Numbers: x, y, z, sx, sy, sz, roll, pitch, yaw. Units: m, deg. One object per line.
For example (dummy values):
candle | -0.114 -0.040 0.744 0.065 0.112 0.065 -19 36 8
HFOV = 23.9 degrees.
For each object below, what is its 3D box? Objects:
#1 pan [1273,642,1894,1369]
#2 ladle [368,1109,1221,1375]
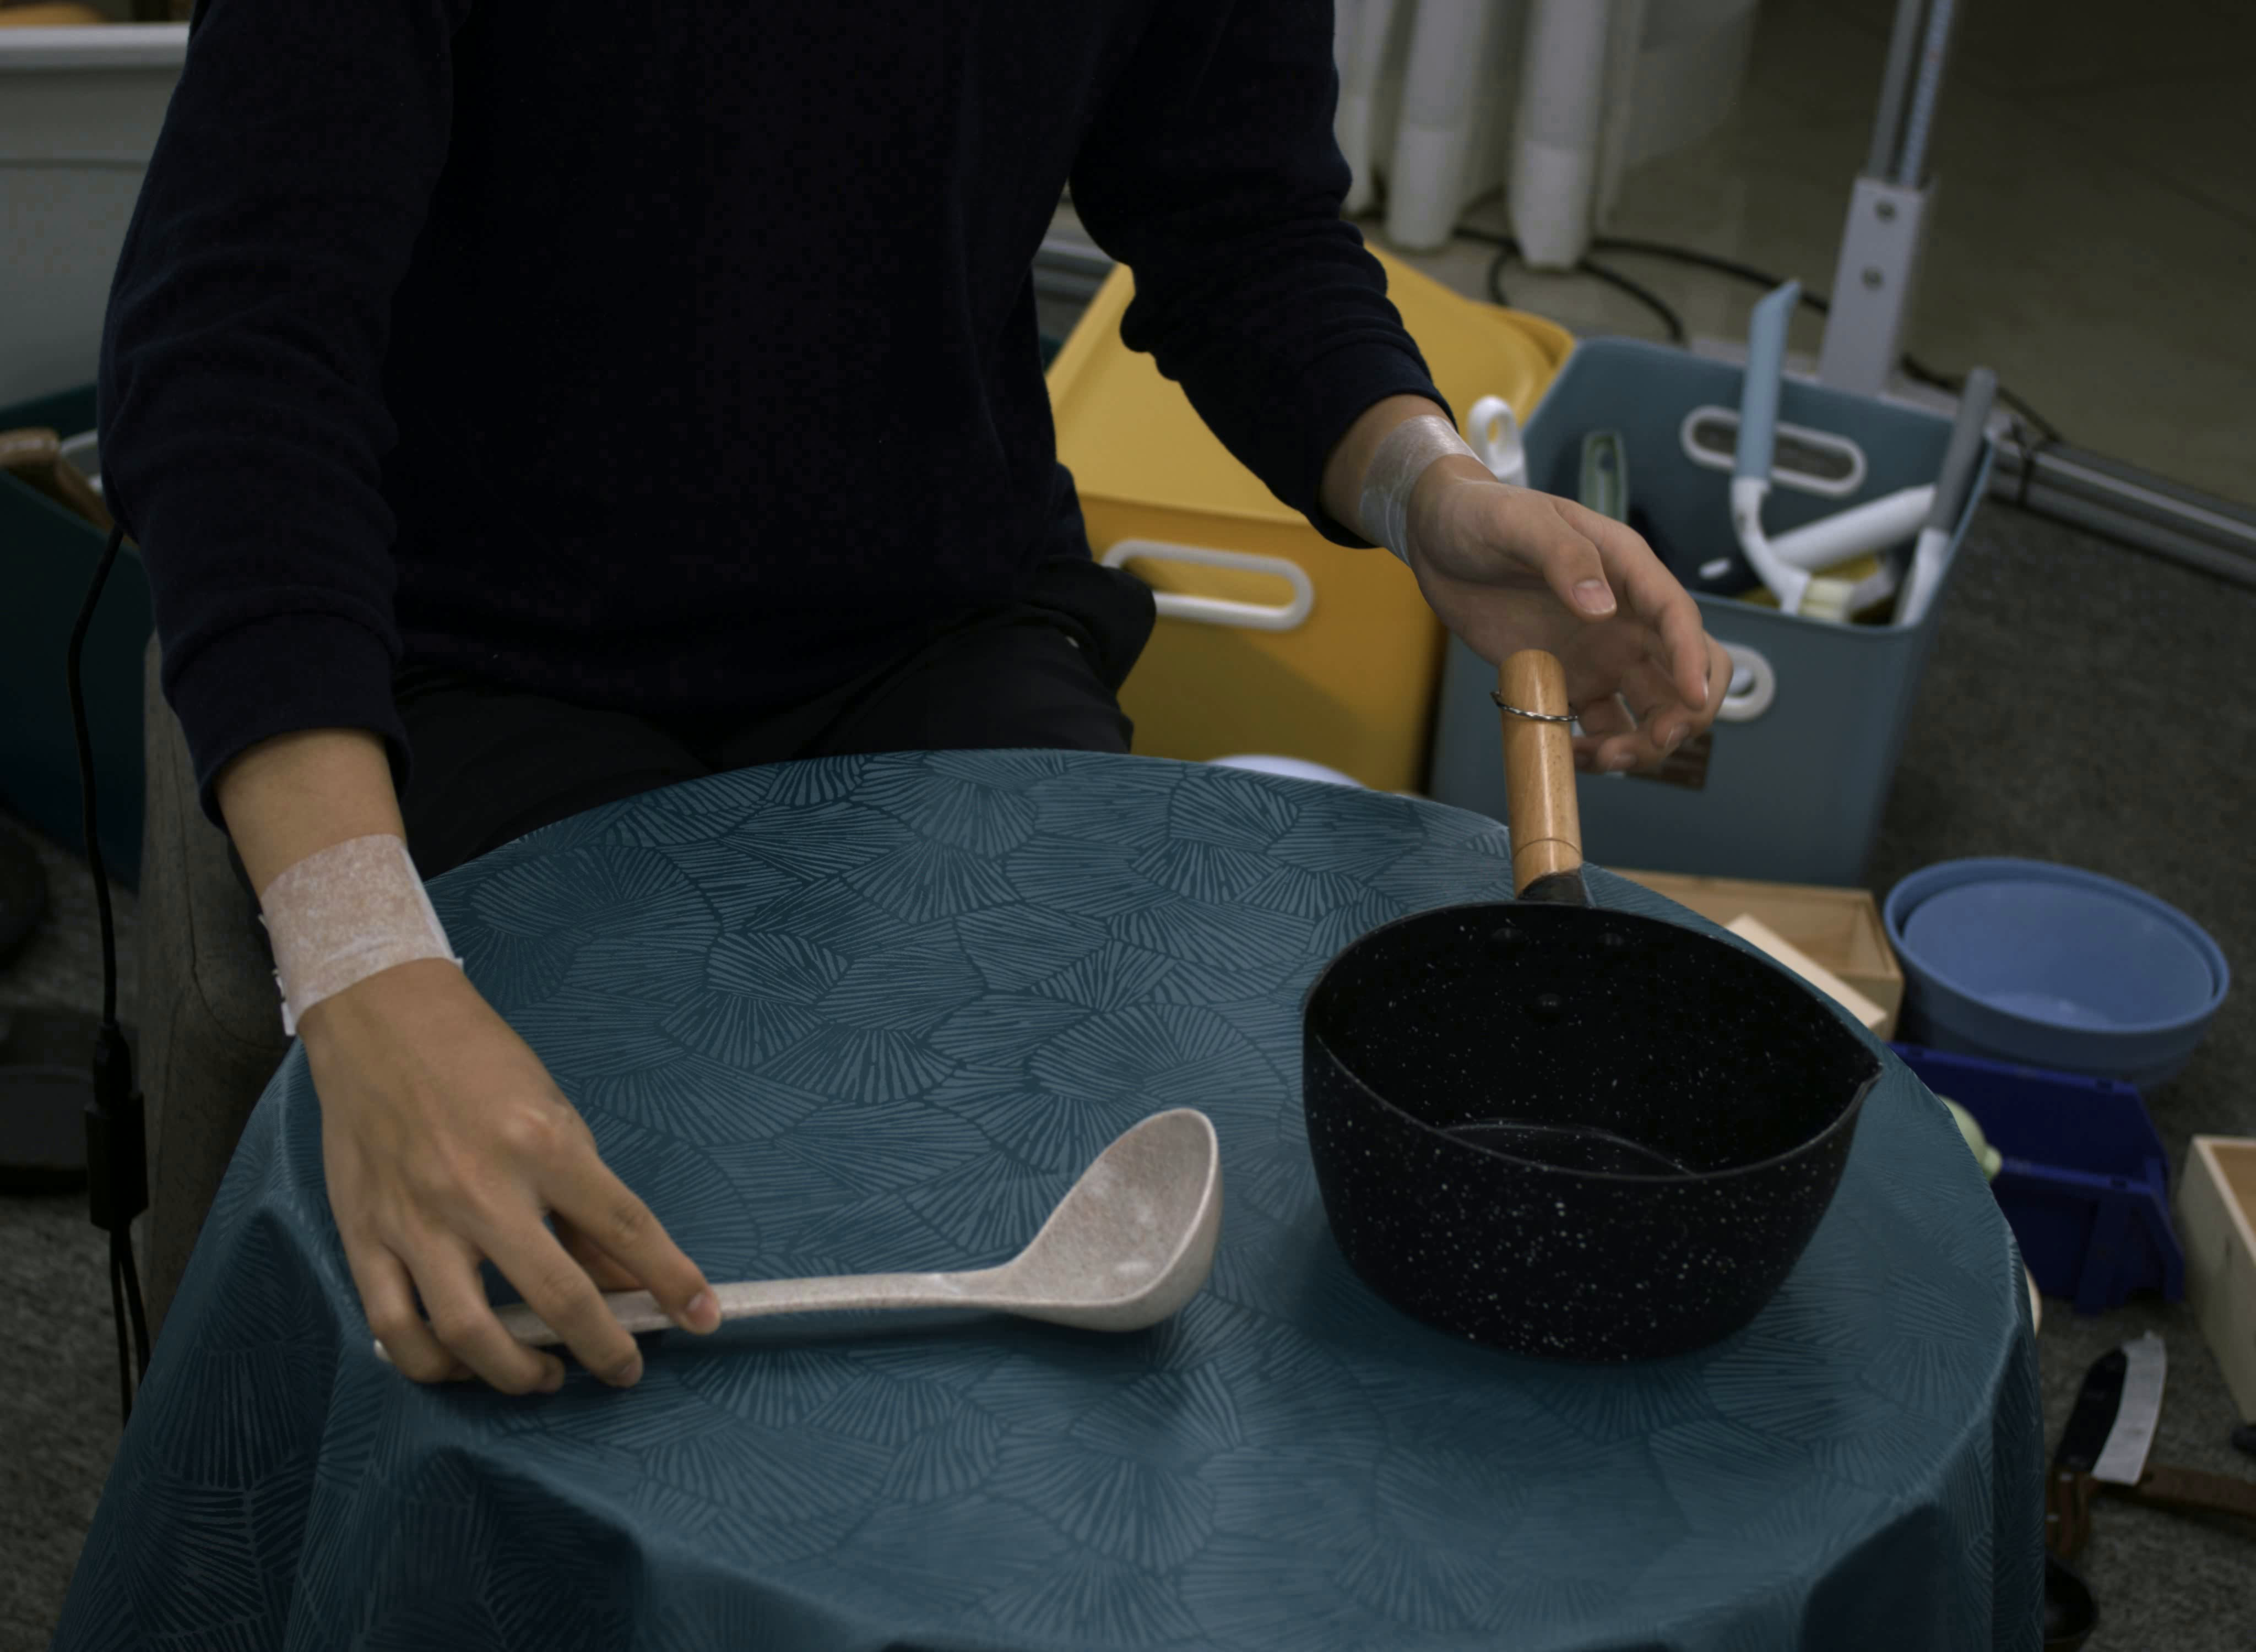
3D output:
pan | 0.146 0.058 1.845 0.207 0.108 0.345 3 28 -4
ladle | -0.104 0.132 1.691 0.273 0.069 0.090 -2 23 -15
